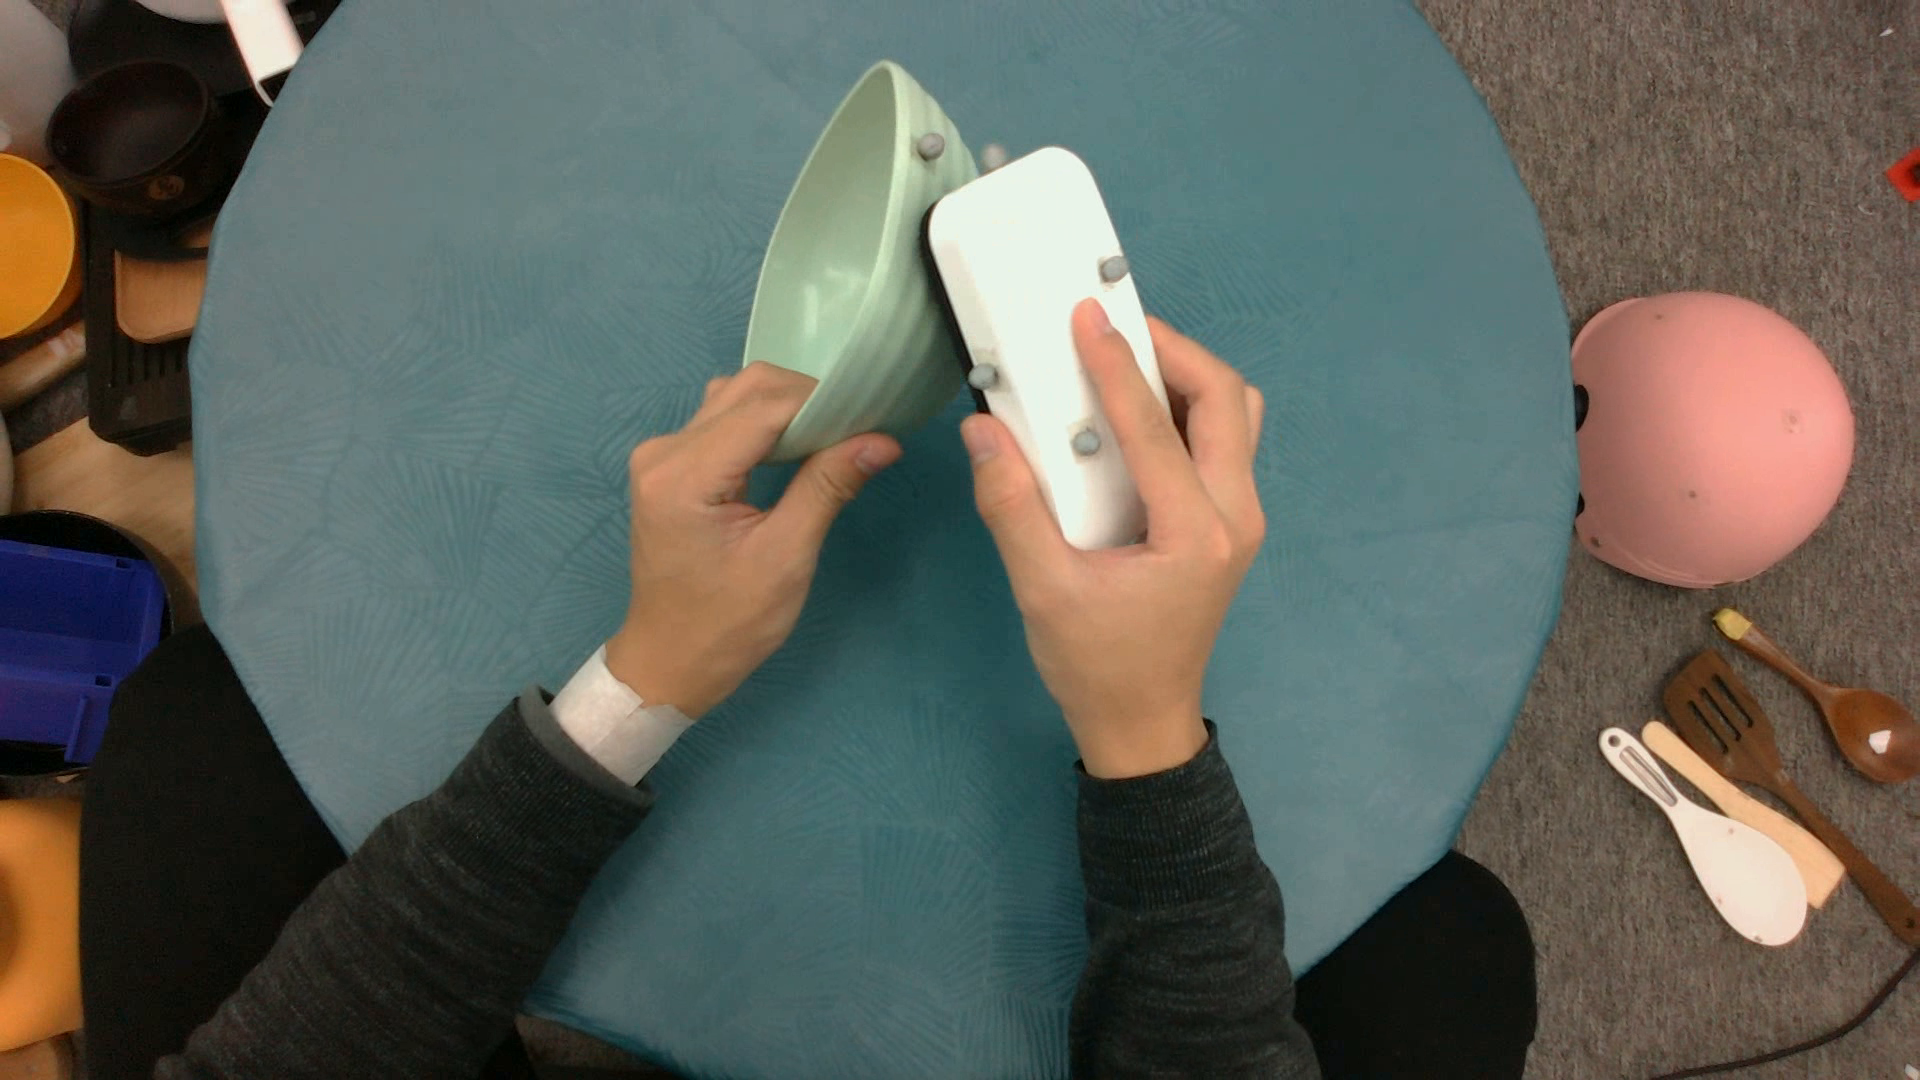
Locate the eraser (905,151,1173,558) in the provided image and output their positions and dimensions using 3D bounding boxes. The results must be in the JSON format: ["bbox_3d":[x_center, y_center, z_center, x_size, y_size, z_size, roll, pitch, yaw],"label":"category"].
[{"bbox_3d":[0.028,-0.060,0.460,0.063,0.034,0.131,-32,109,-33],"label":"eraser"}]

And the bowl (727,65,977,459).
[{"bbox_3d":[-0.032,-0.093,0.513,0.058,0.151,0.152,19,78,-23],"label":"bowl"}]
